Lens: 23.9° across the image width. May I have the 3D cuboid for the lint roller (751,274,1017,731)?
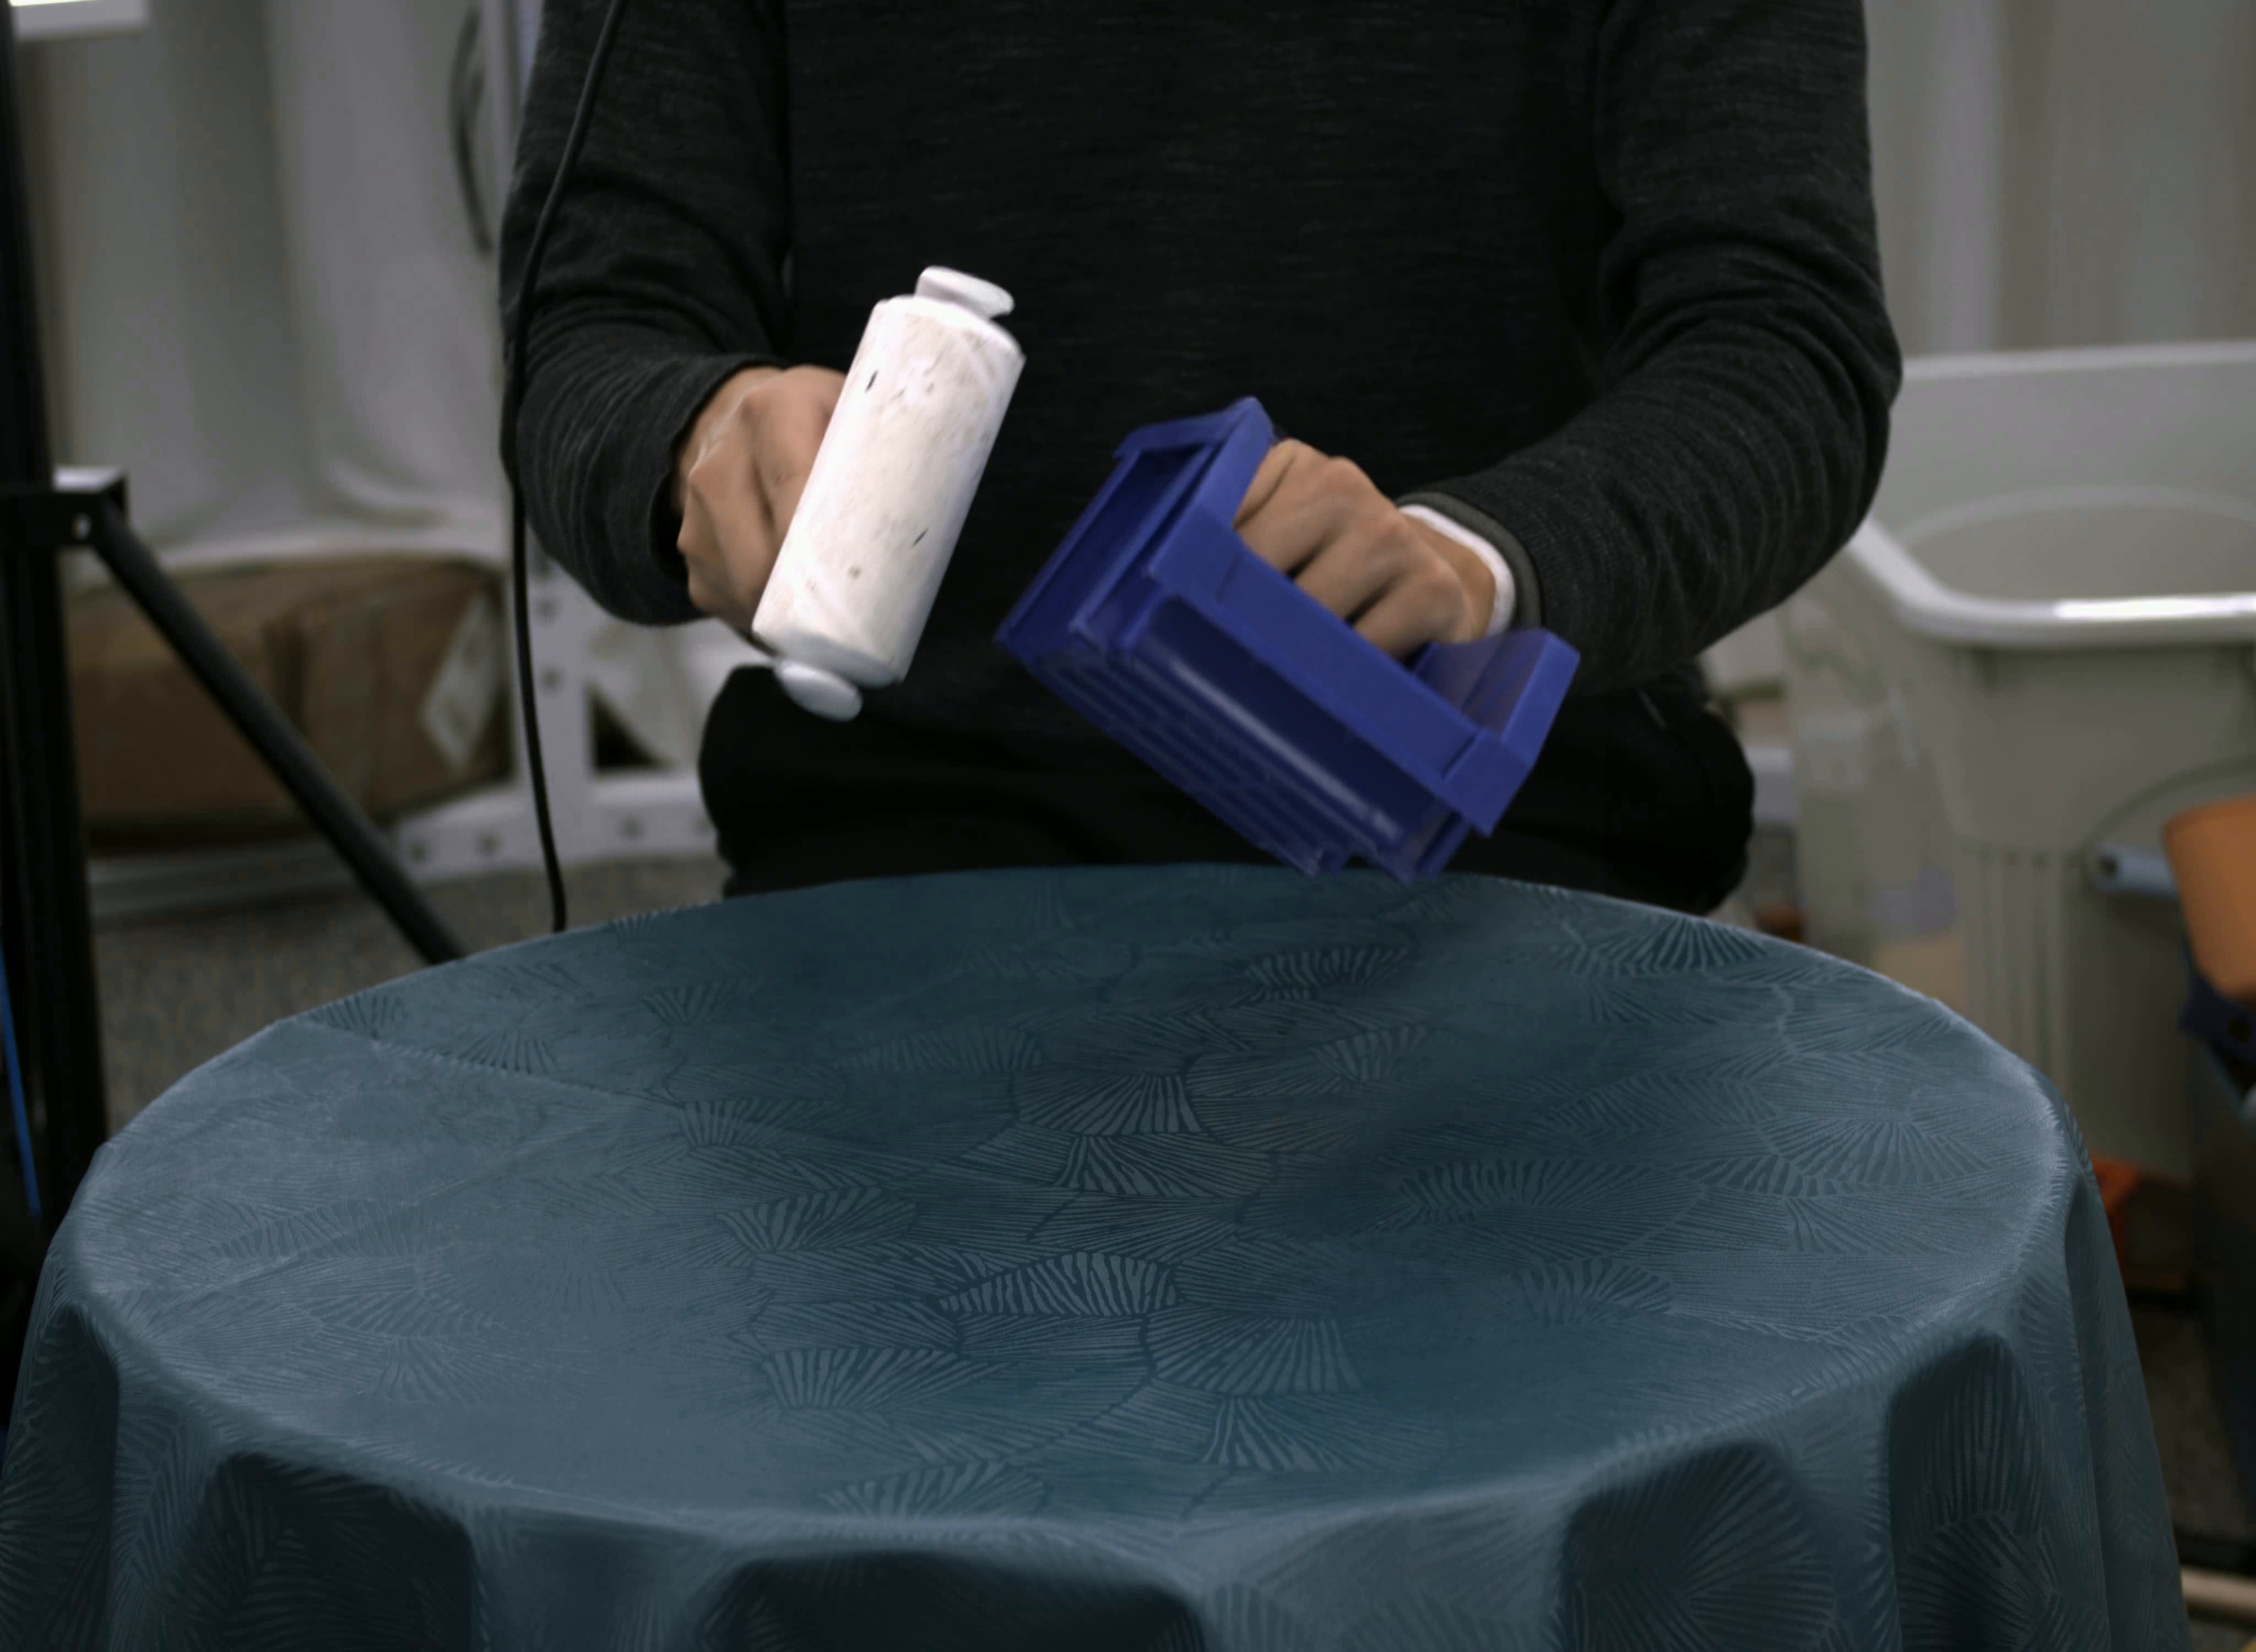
[{"bbox_3d":[-0.093,-0.096,1.589,0.049,0.133,0.183,21,-4,-21],"label":"lint roller"}]

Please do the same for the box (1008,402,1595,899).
[{"bbox_3d":[0.050,-0.046,1.516,0.123,0.082,0.181,38,-10,-9],"label":"box"}]
